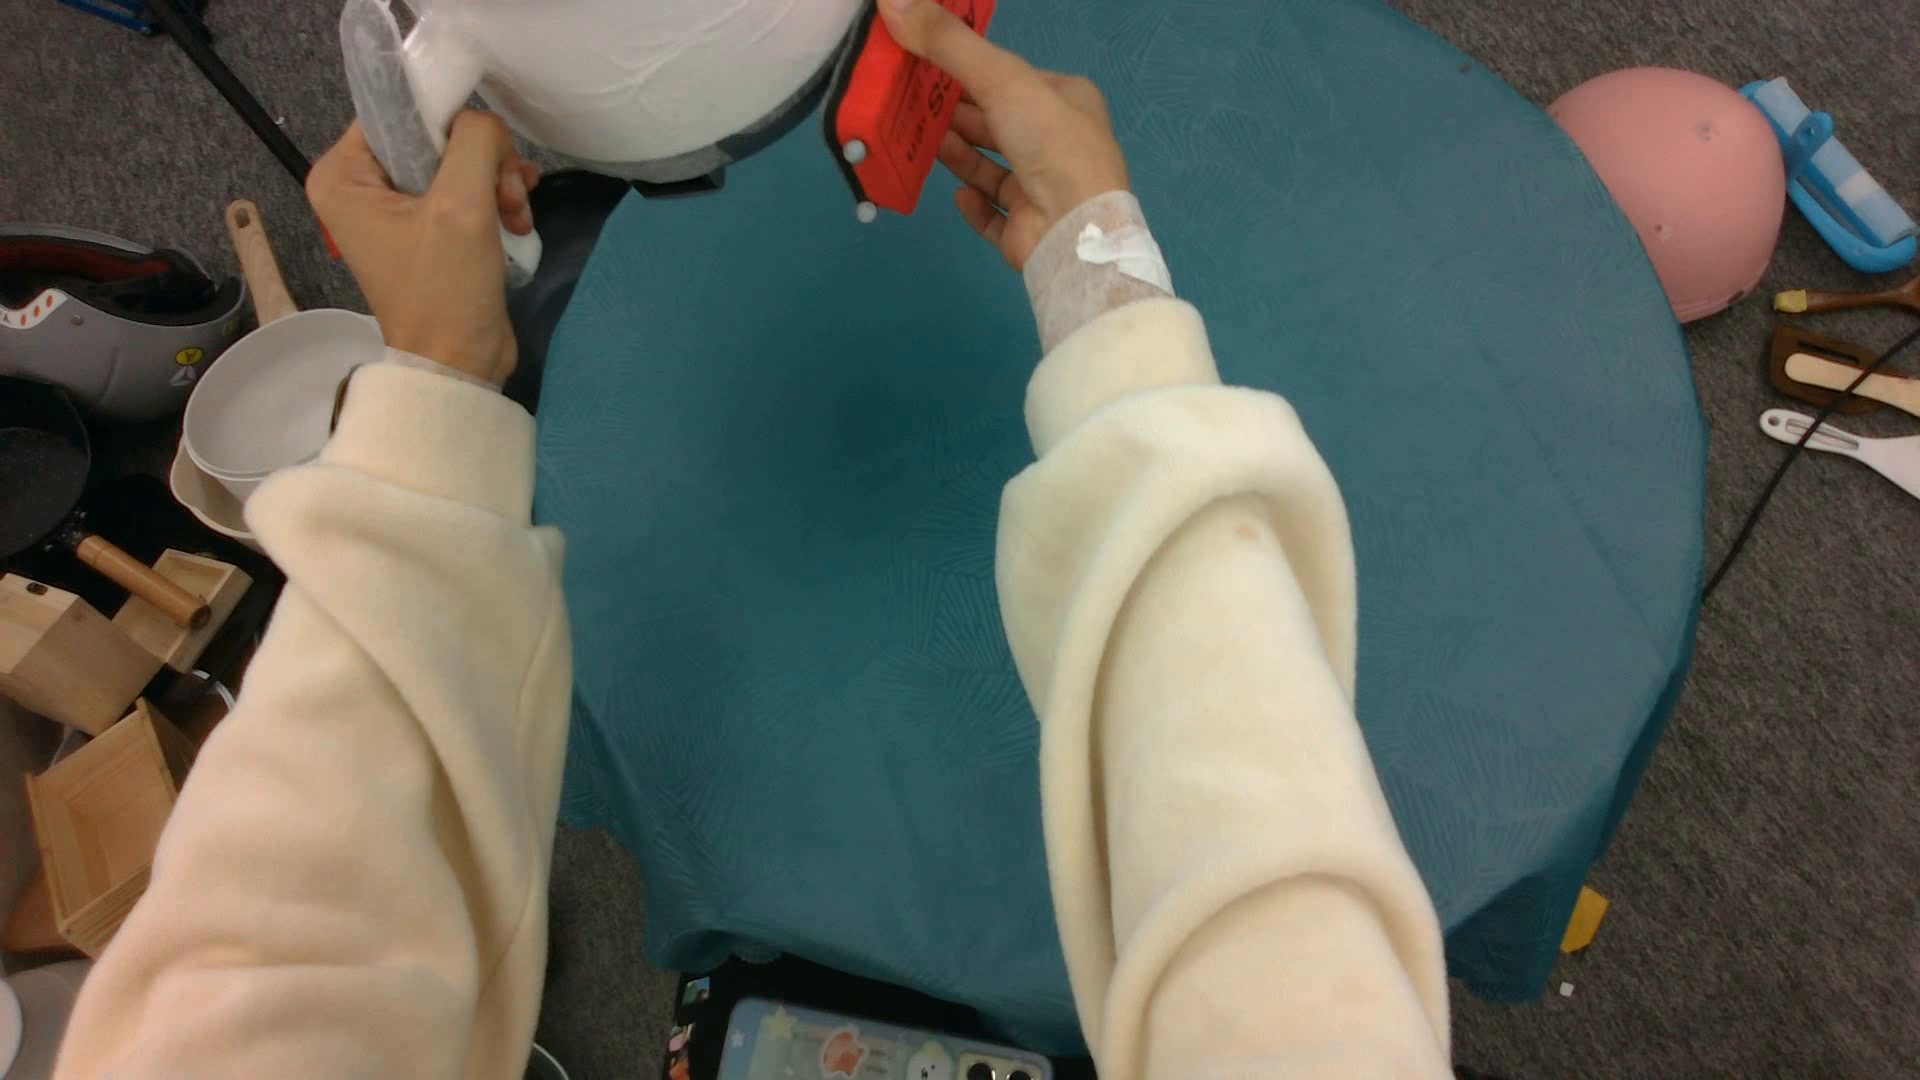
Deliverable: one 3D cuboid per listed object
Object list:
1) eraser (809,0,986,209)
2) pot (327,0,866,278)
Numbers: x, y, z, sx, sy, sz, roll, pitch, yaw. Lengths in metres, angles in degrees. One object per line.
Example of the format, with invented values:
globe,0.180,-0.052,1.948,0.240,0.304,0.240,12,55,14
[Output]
eraser,-0.022,-0.186,0.529,0.023,0.059,0.108,19,76,16
pot,-0.139,-0.213,0.498,0.178,0.136,0.234,25,80,17
